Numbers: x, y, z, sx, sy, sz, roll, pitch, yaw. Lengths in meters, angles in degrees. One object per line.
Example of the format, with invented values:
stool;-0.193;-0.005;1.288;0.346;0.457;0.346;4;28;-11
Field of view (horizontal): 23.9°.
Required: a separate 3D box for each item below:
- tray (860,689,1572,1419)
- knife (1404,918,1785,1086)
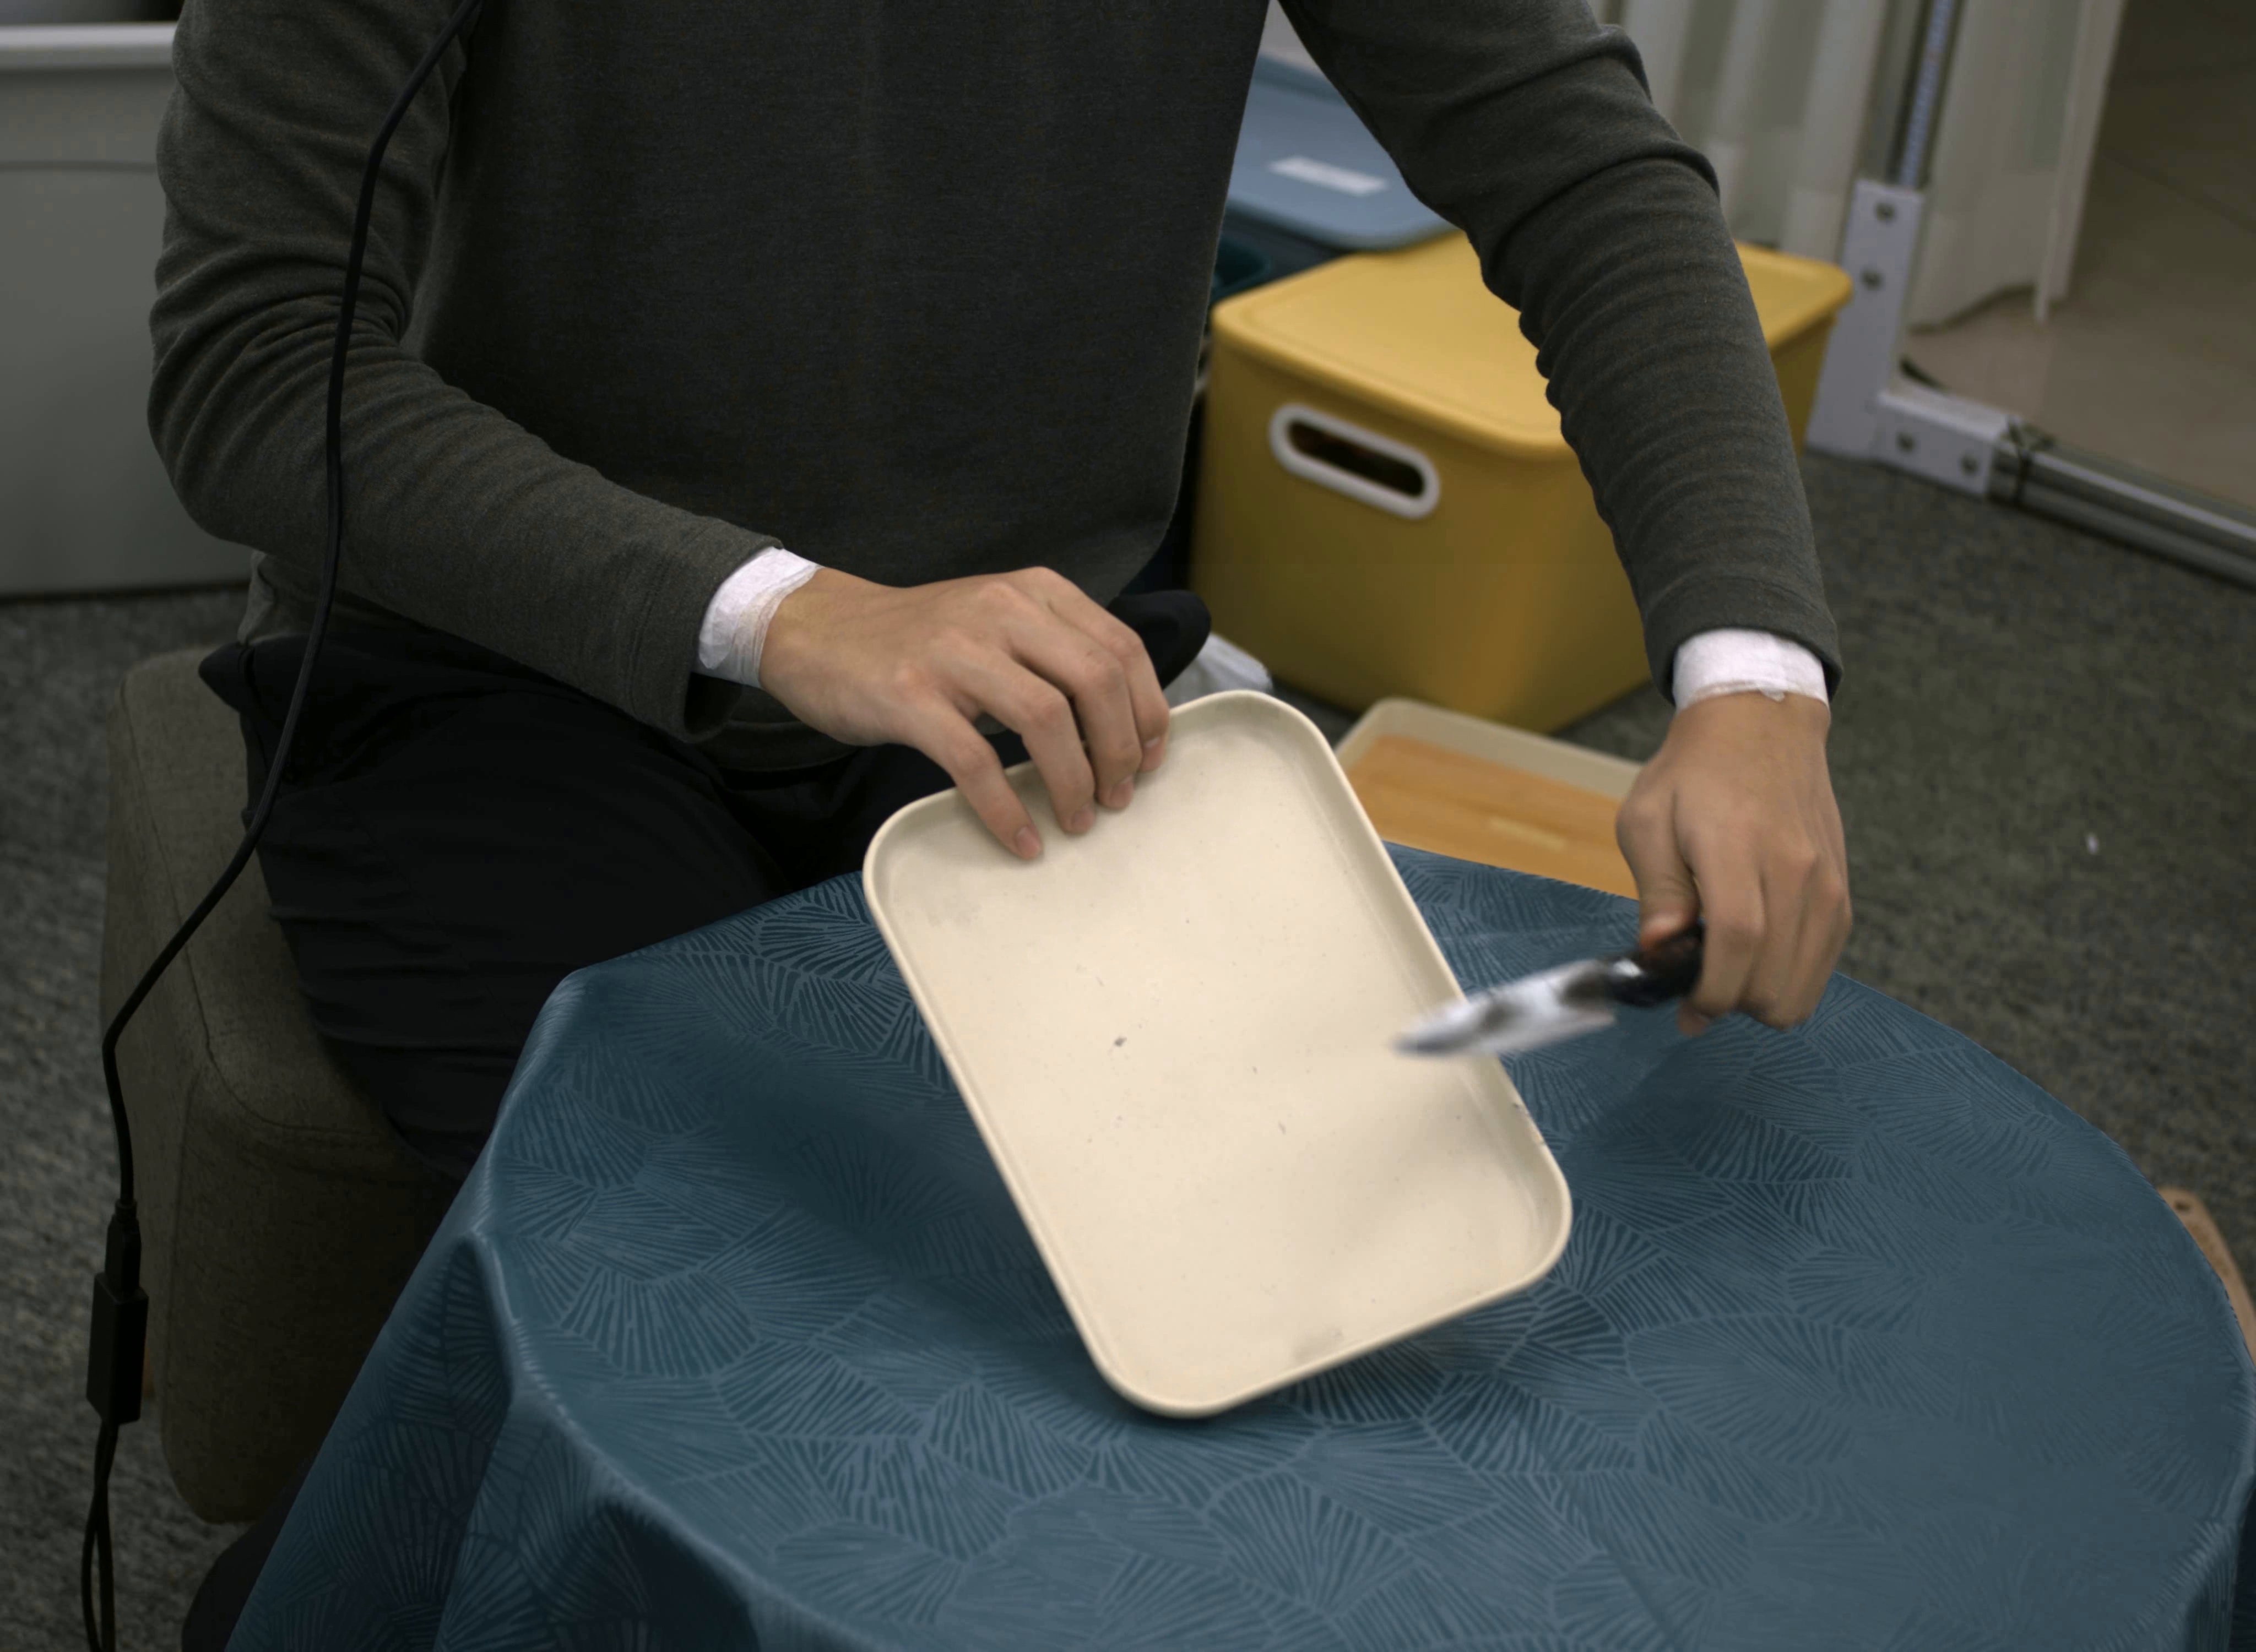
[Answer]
tray;0.027;0.073;1.747;0.170;0.017;0.241;-20;64;-15
knife;0.155;0.059;1.770;0.237;0.016;0.024;-16;68;-53
